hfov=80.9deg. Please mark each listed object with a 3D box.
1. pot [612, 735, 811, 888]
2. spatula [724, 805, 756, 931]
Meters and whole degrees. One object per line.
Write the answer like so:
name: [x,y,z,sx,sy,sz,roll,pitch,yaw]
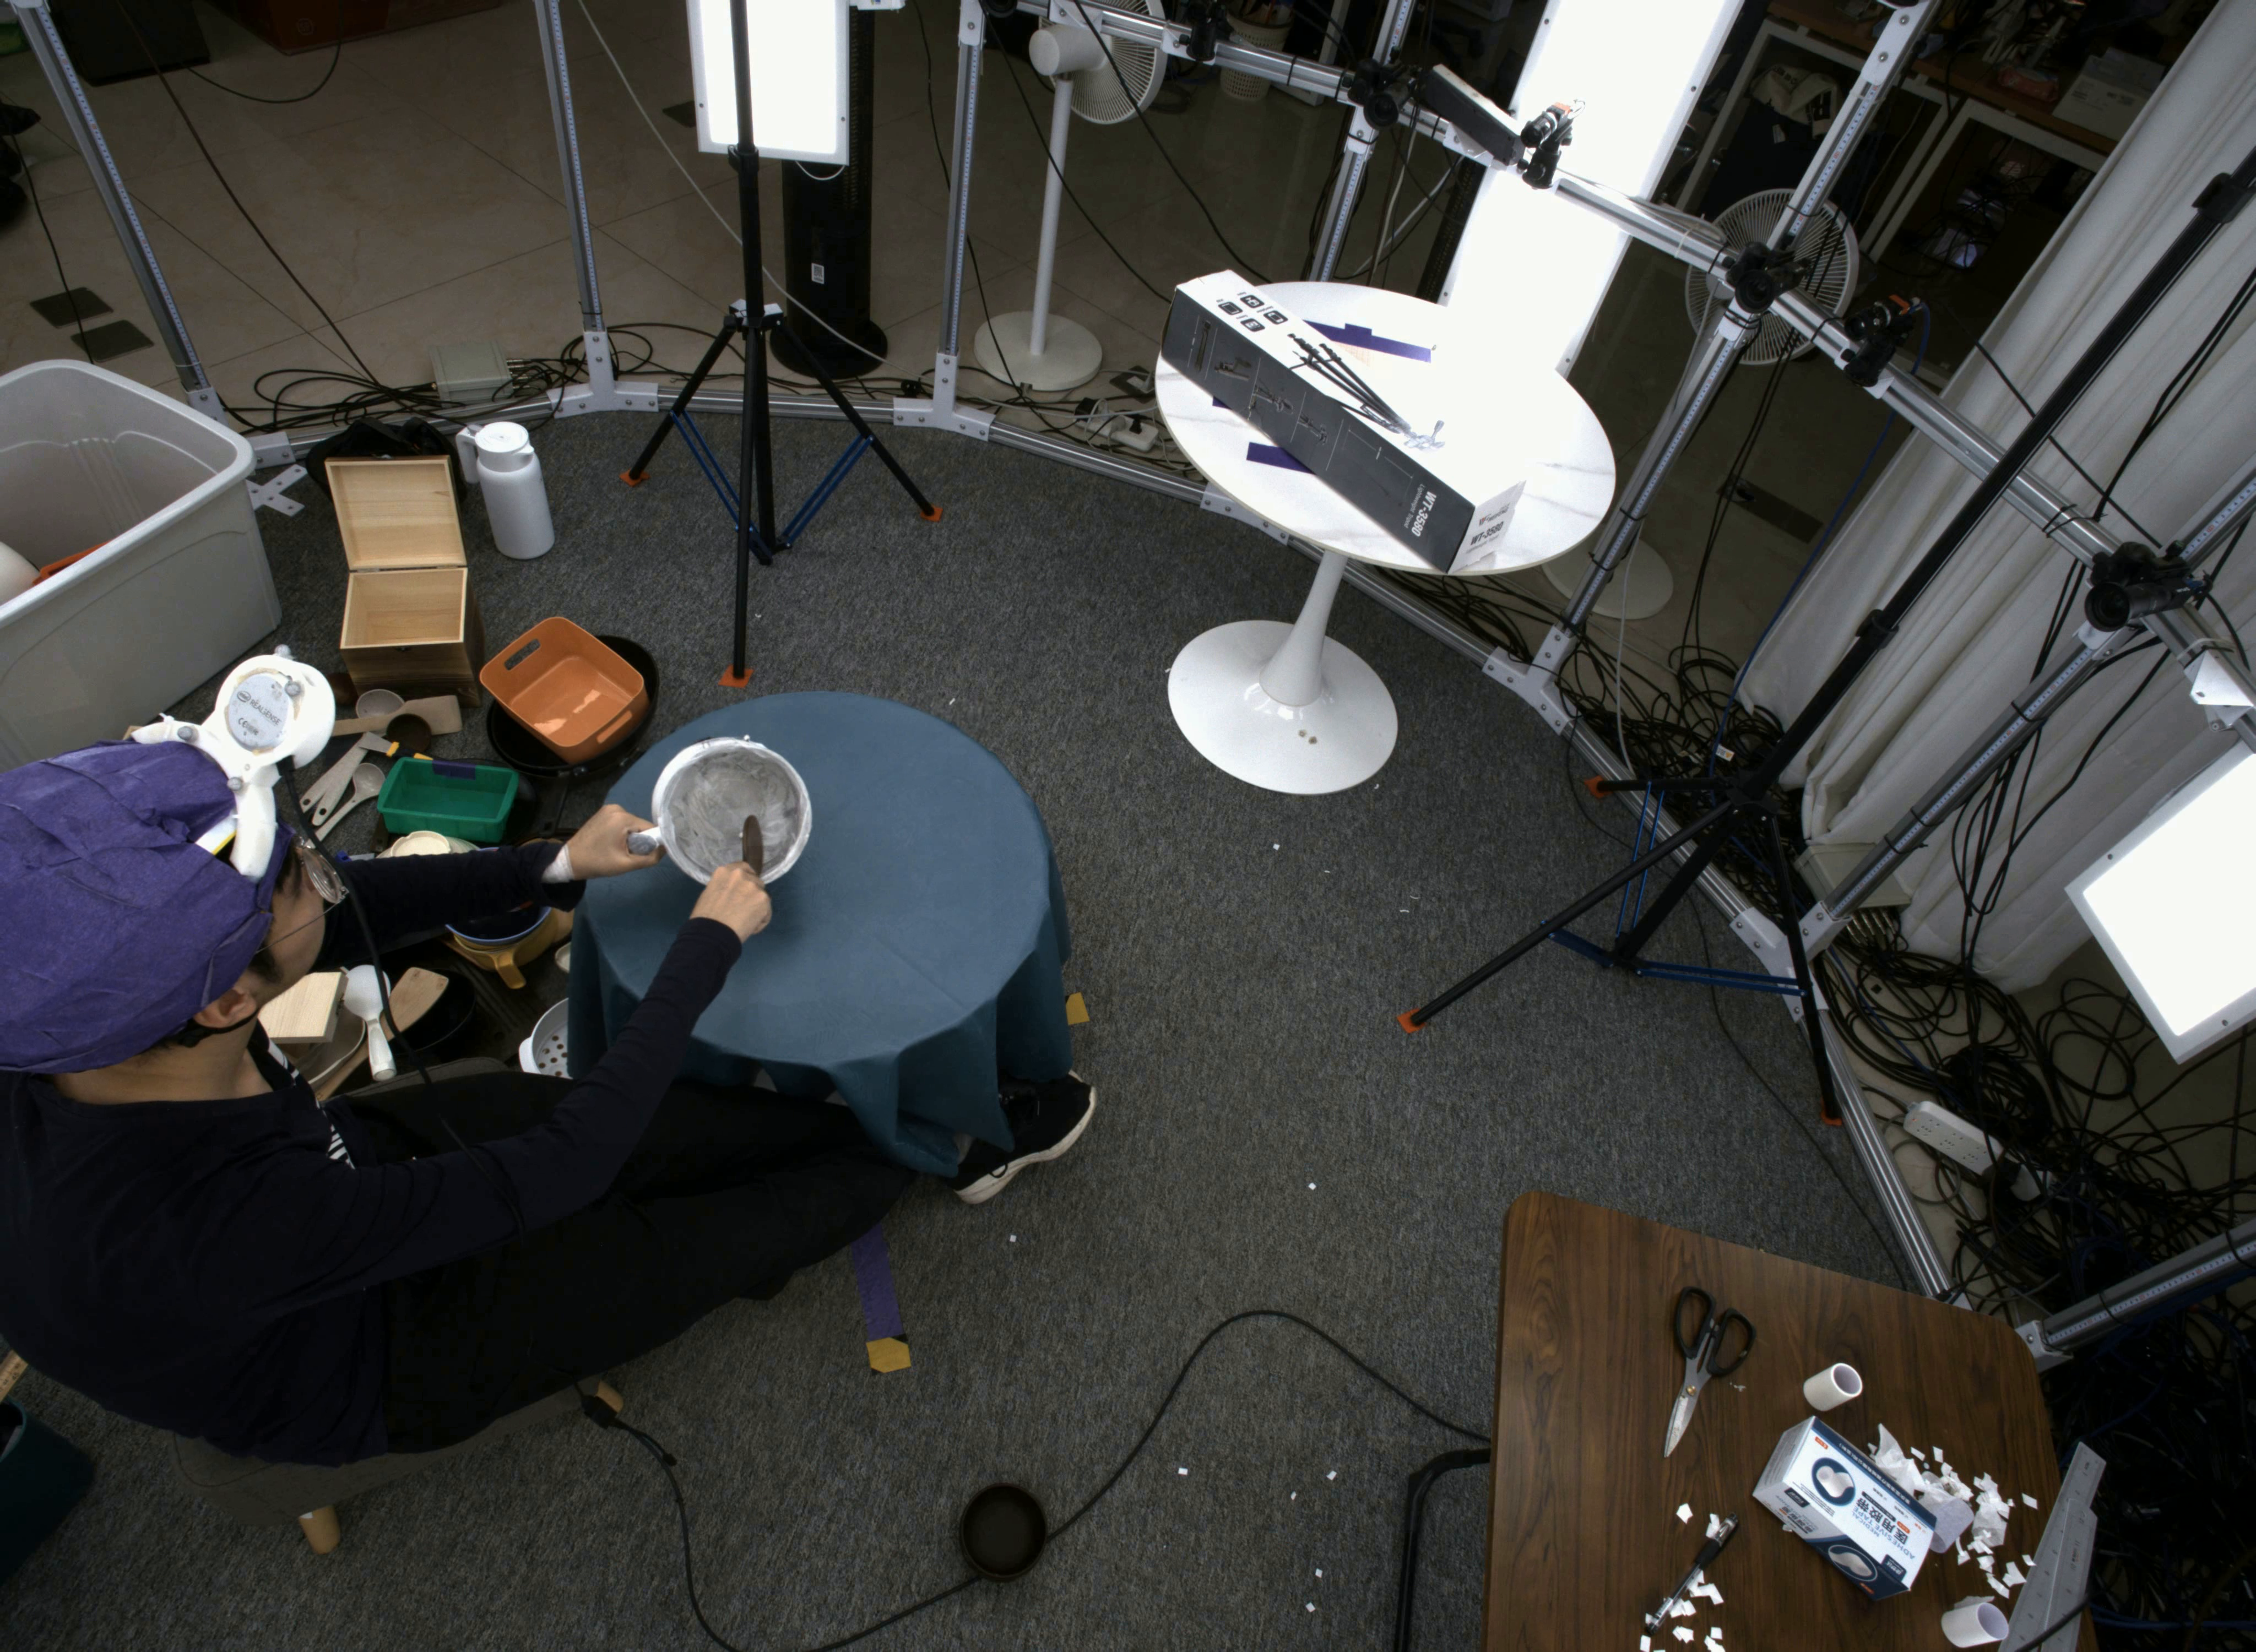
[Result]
pot: [-0.511,-0.012,1.567,0.234,0.133,0.183,-22,104,-22]
spatula: [-0.446,0.050,1.479,0.009,0.072,0.209,28,25,-29]
